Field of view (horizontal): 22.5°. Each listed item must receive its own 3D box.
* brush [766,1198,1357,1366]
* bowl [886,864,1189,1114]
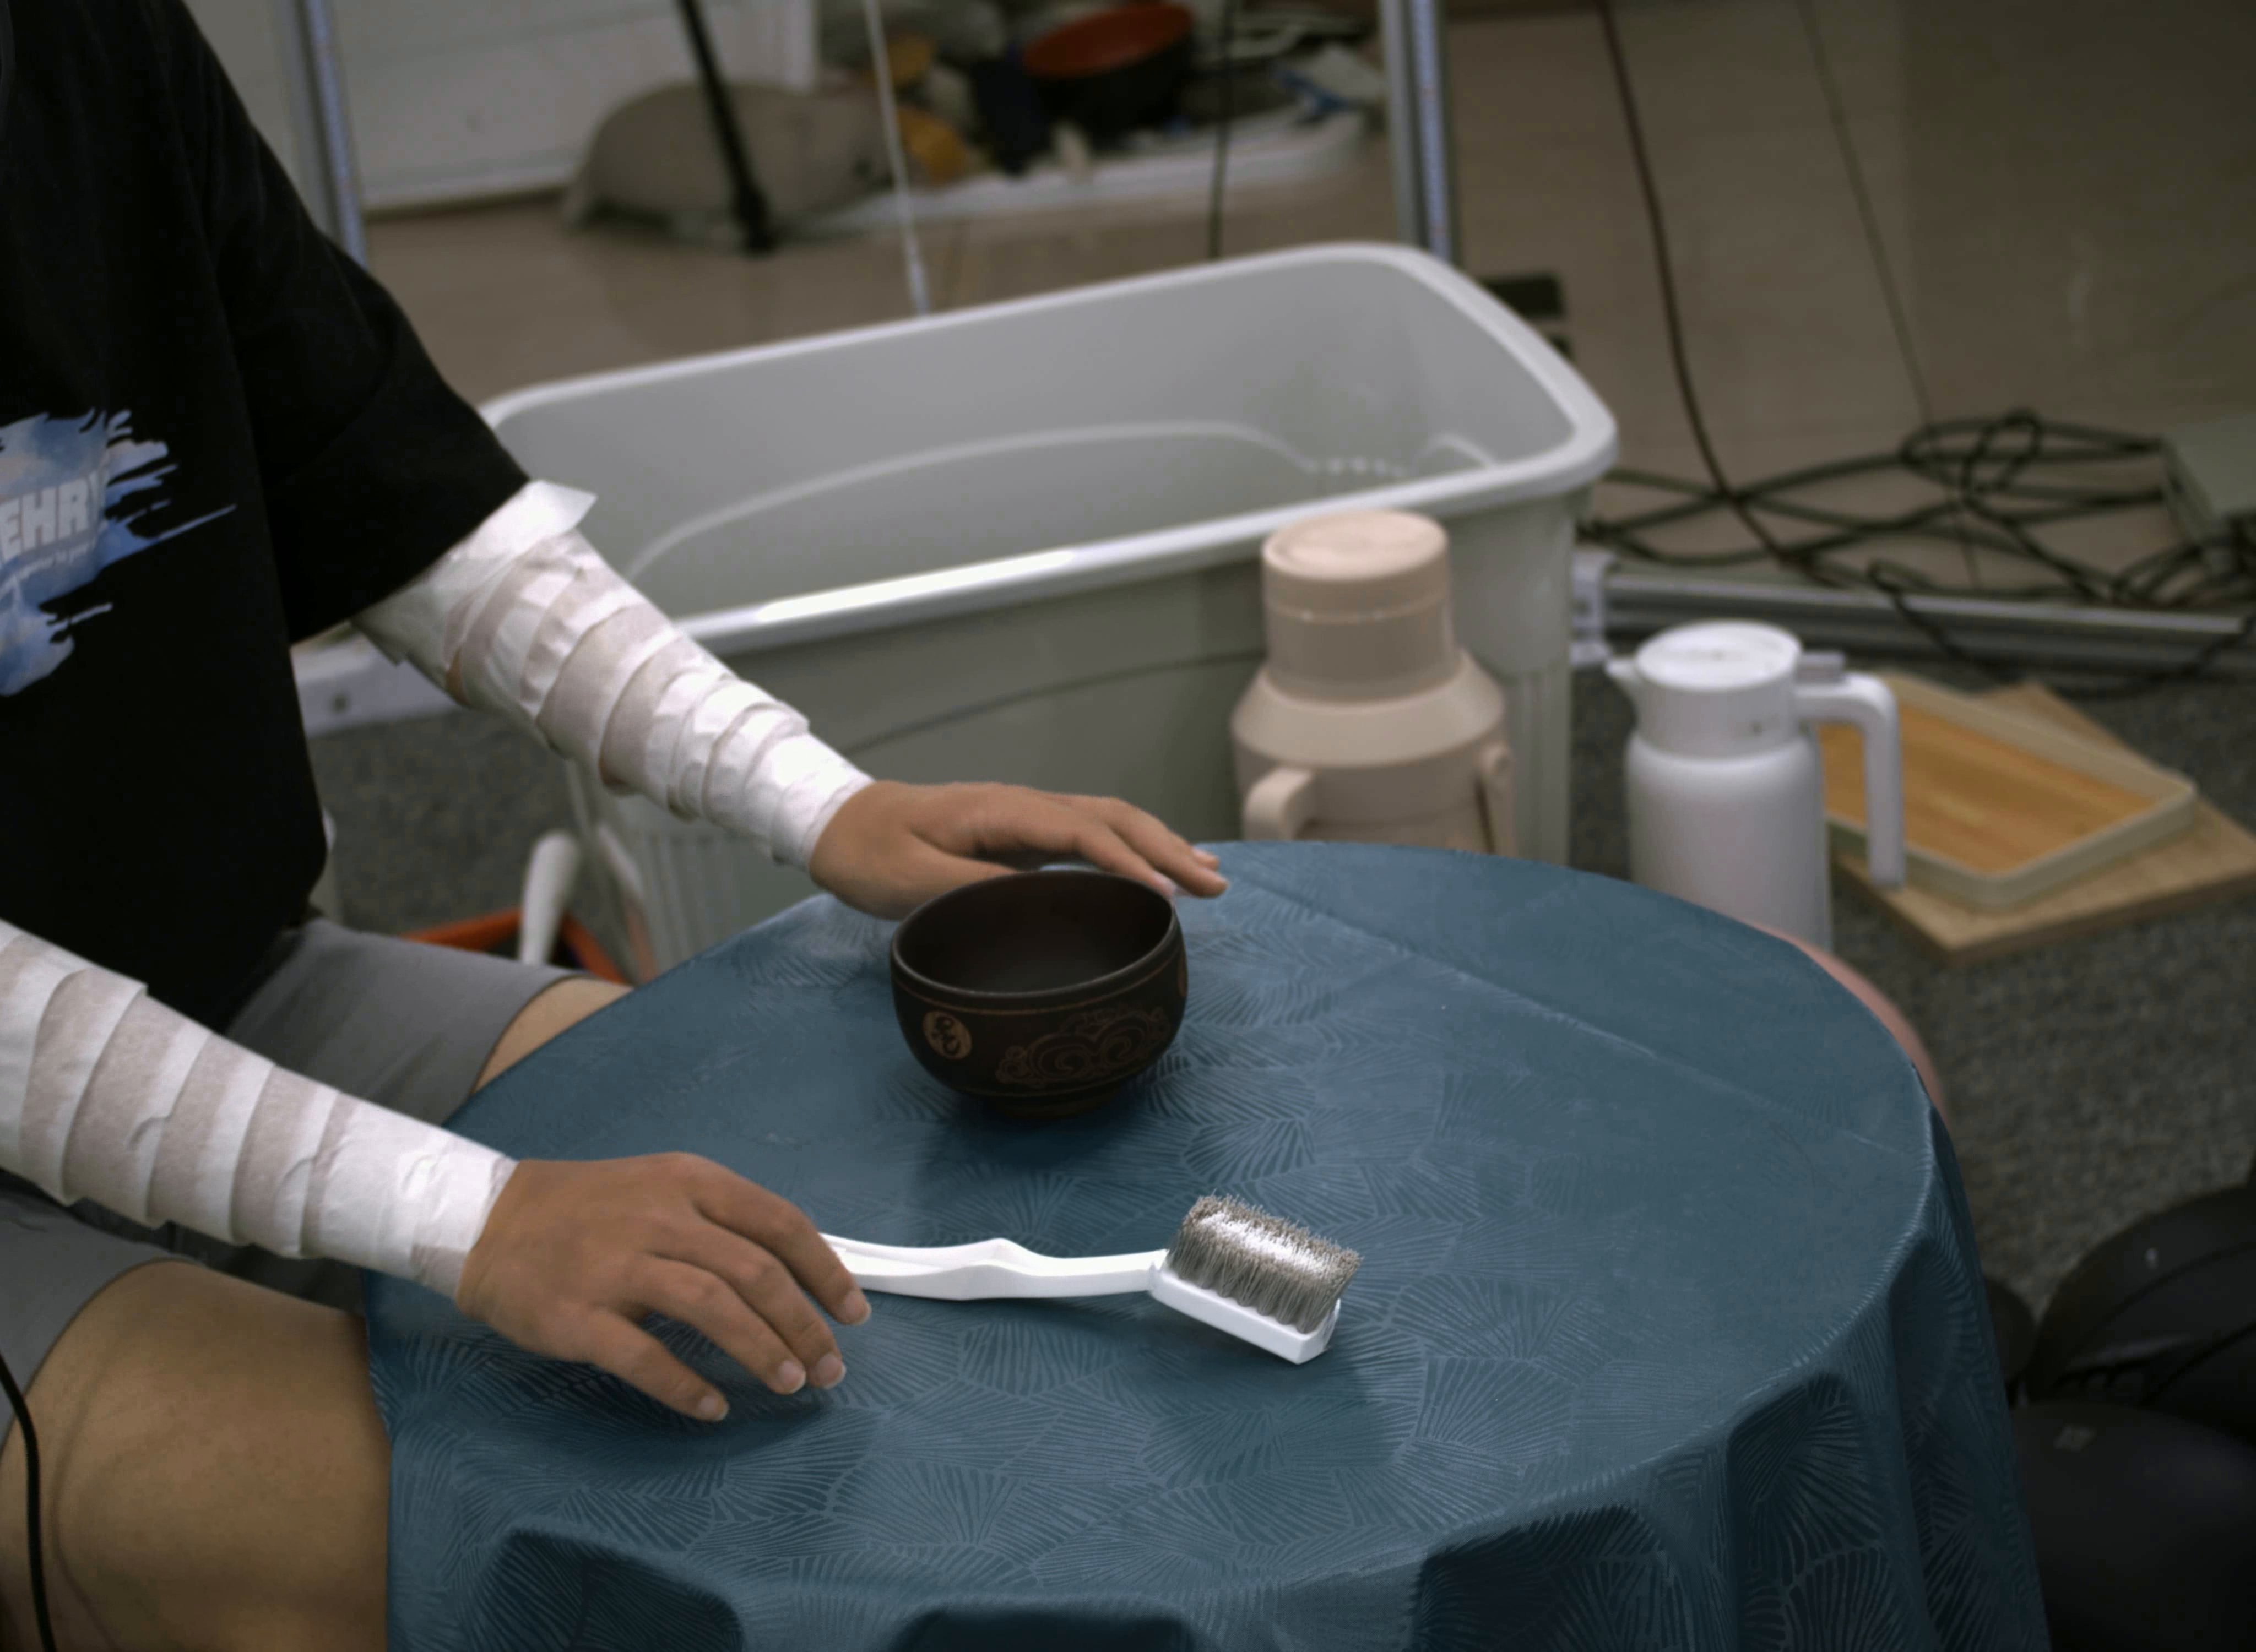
[{"bbox_3d":[-0.029,0.151,2.067,0.242,0.051,0.034,9,28,28],"label":"brush"},{"bbox_3d":[-0.033,0.070,2.217,0.118,0.071,0.116,-7,25,3],"label":"bowl"}]
